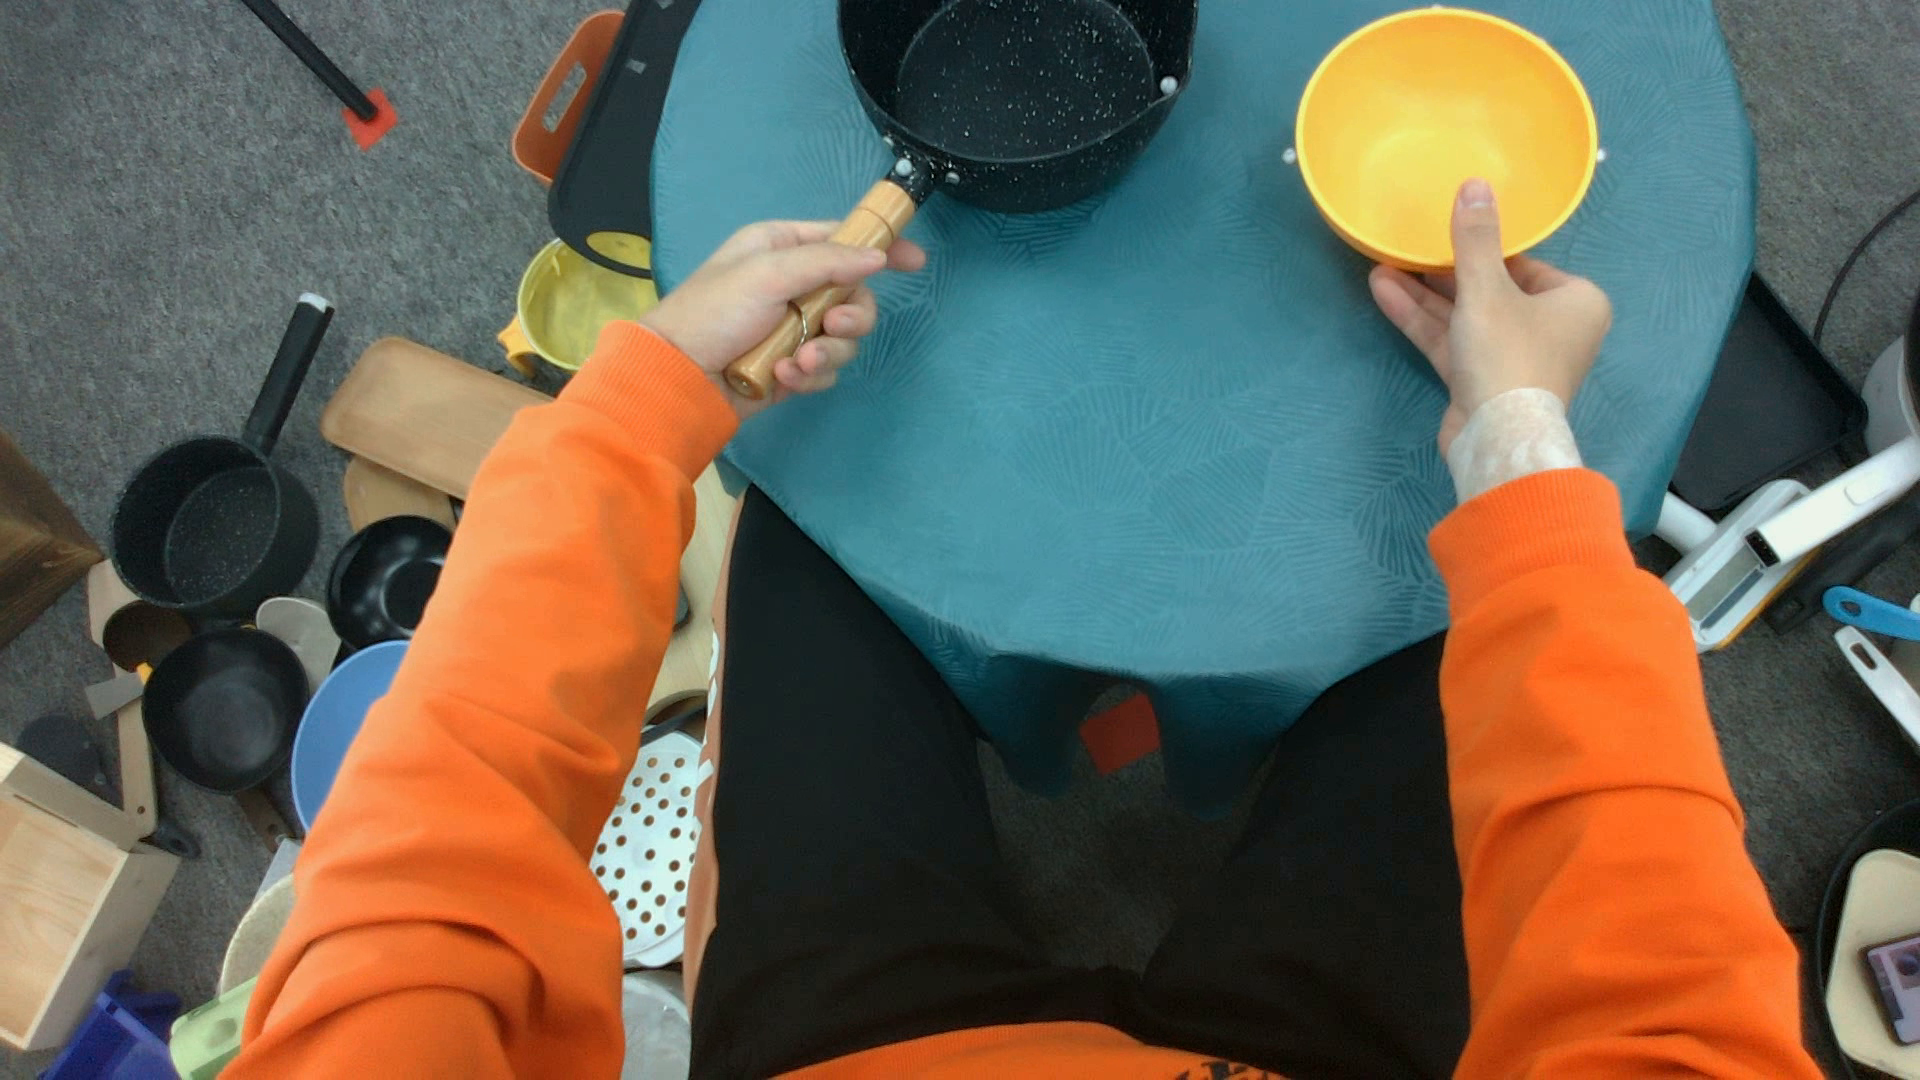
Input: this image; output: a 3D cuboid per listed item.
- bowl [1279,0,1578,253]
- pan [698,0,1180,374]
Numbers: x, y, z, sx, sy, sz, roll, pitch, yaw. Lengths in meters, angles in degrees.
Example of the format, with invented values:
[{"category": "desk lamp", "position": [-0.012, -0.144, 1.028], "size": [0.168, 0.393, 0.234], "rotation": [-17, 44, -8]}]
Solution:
[{"category": "bowl", "position": [0.236, -0.205, 0.714], "size": [0.145, 0.060, 0.145], "rotation": [-1, 75, 6]}, {"category": "pan", "position": [-0.019, -0.211, 0.712], "size": [0.207, 0.108, 0.343], "rotation": [29, 78, 10]}]
